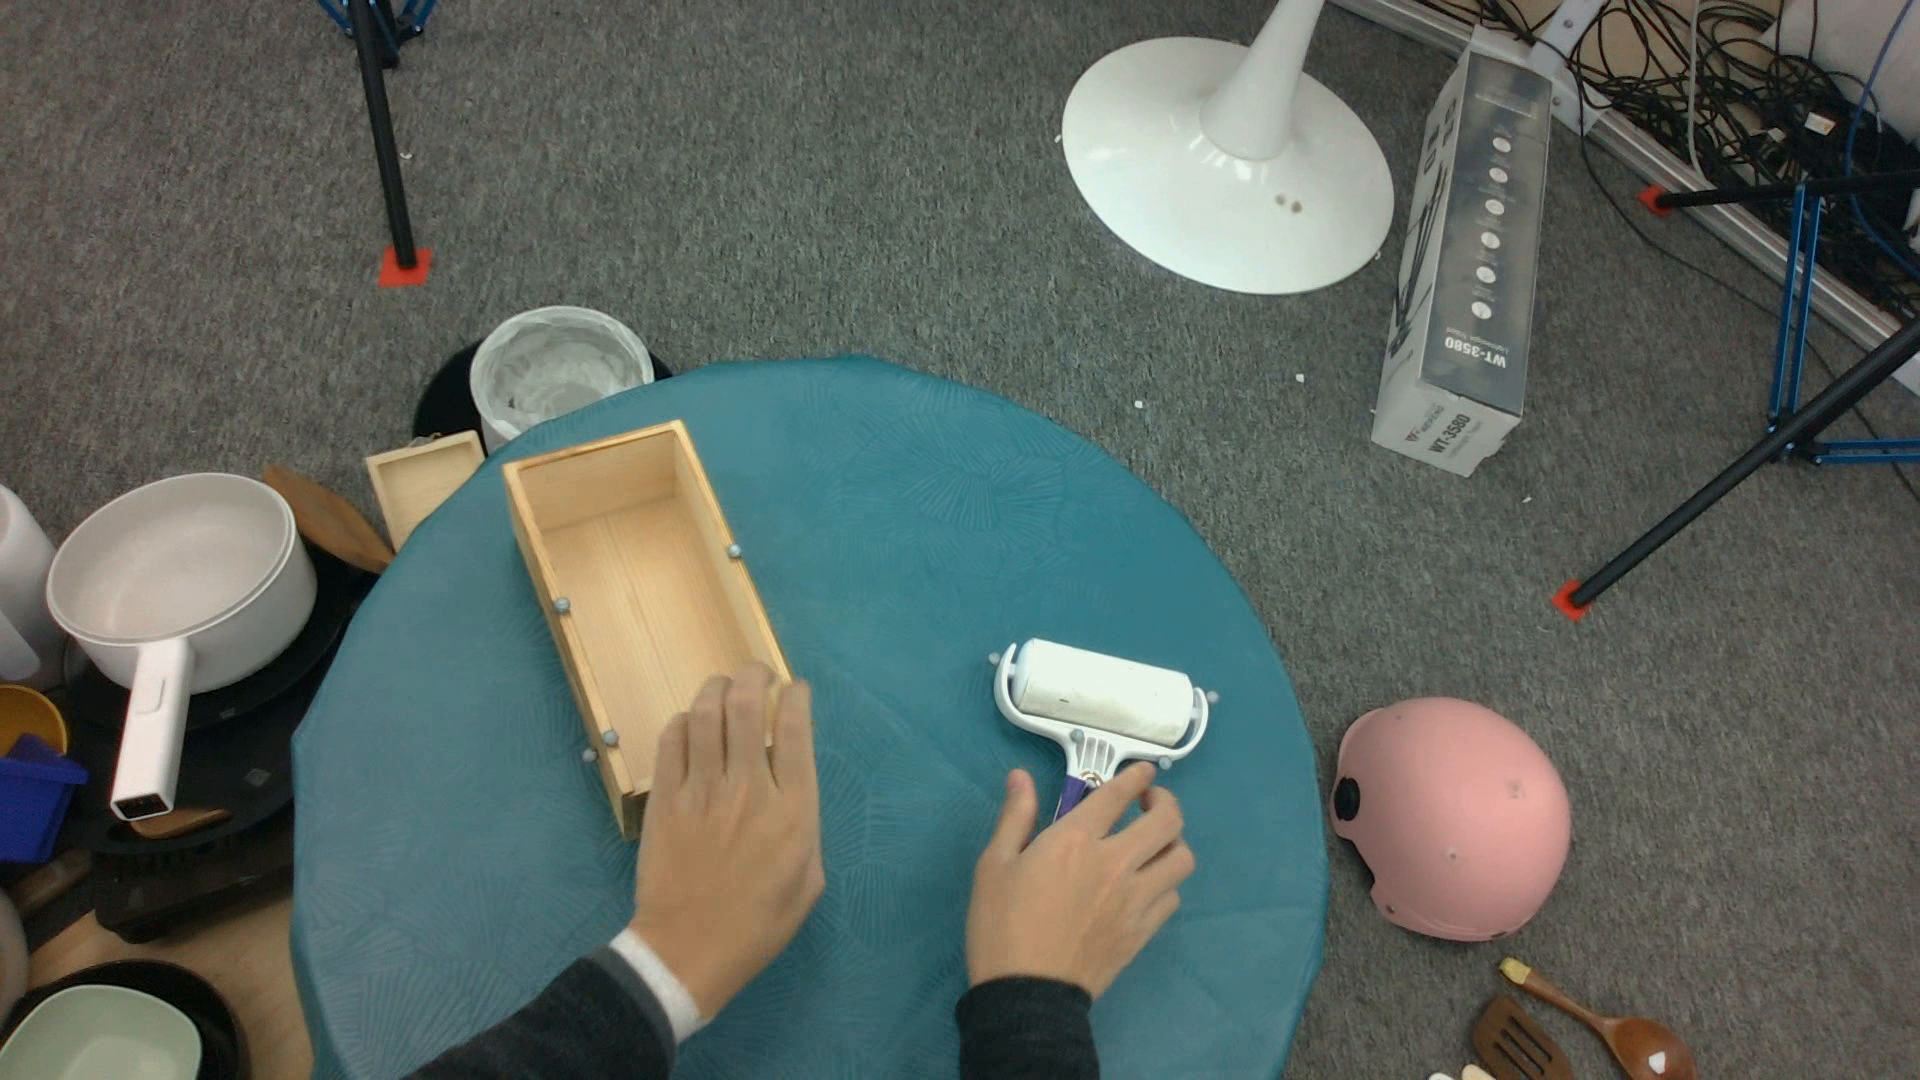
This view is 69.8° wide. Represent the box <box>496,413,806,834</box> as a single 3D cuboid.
[{"bbox_3d":[-0.180,0.044,0.792,0.108,0.080,0.212,-18,66,-22],"label":"box"}]

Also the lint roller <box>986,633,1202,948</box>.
[{"bbox_3d":[0.071,0.145,0.810,0.133,0.050,0.181,16,56,-6],"label":"lint roller"}]
